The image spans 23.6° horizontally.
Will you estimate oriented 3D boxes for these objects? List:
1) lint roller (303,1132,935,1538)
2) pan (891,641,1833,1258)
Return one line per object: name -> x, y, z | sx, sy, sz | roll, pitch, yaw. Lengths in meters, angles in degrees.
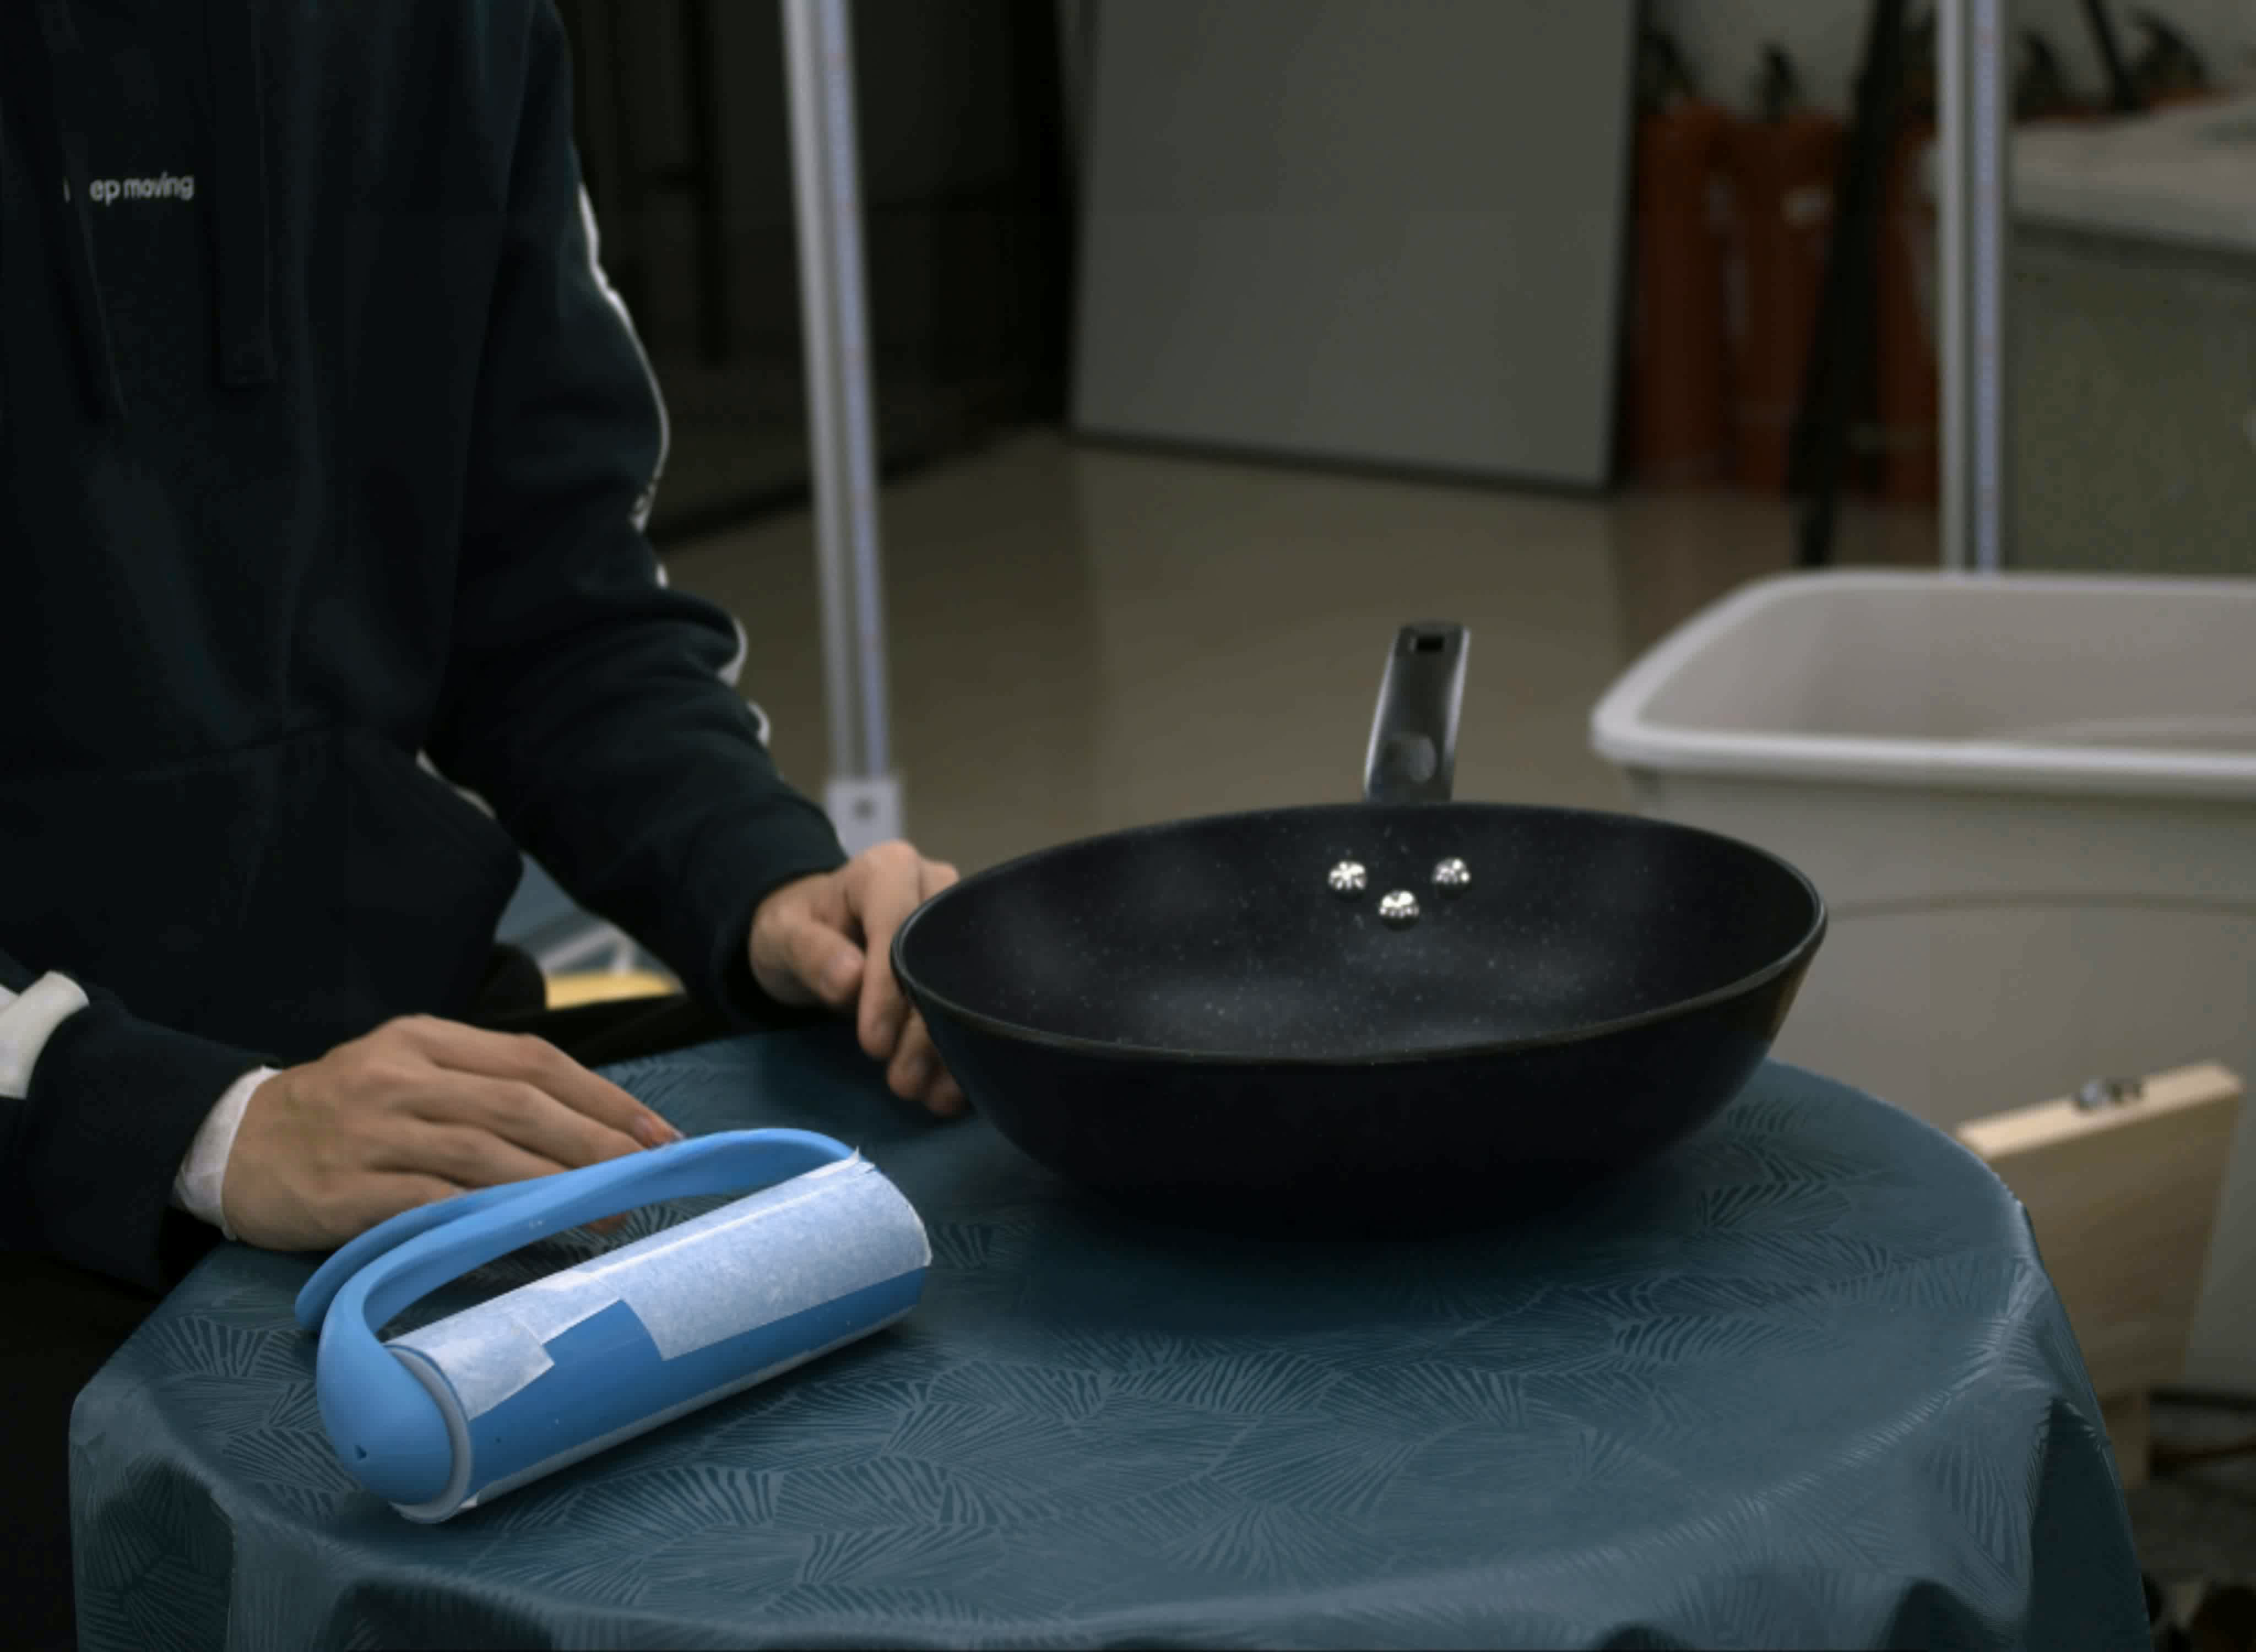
lint roller -> -0.185, 0.143, 1.620 | 0.181, 0.068, 0.225 | 8, 20, 37
pan -> 0.088, 0.042, 1.842 | 0.307, 0.113, 0.475 | 0, 15, 8
